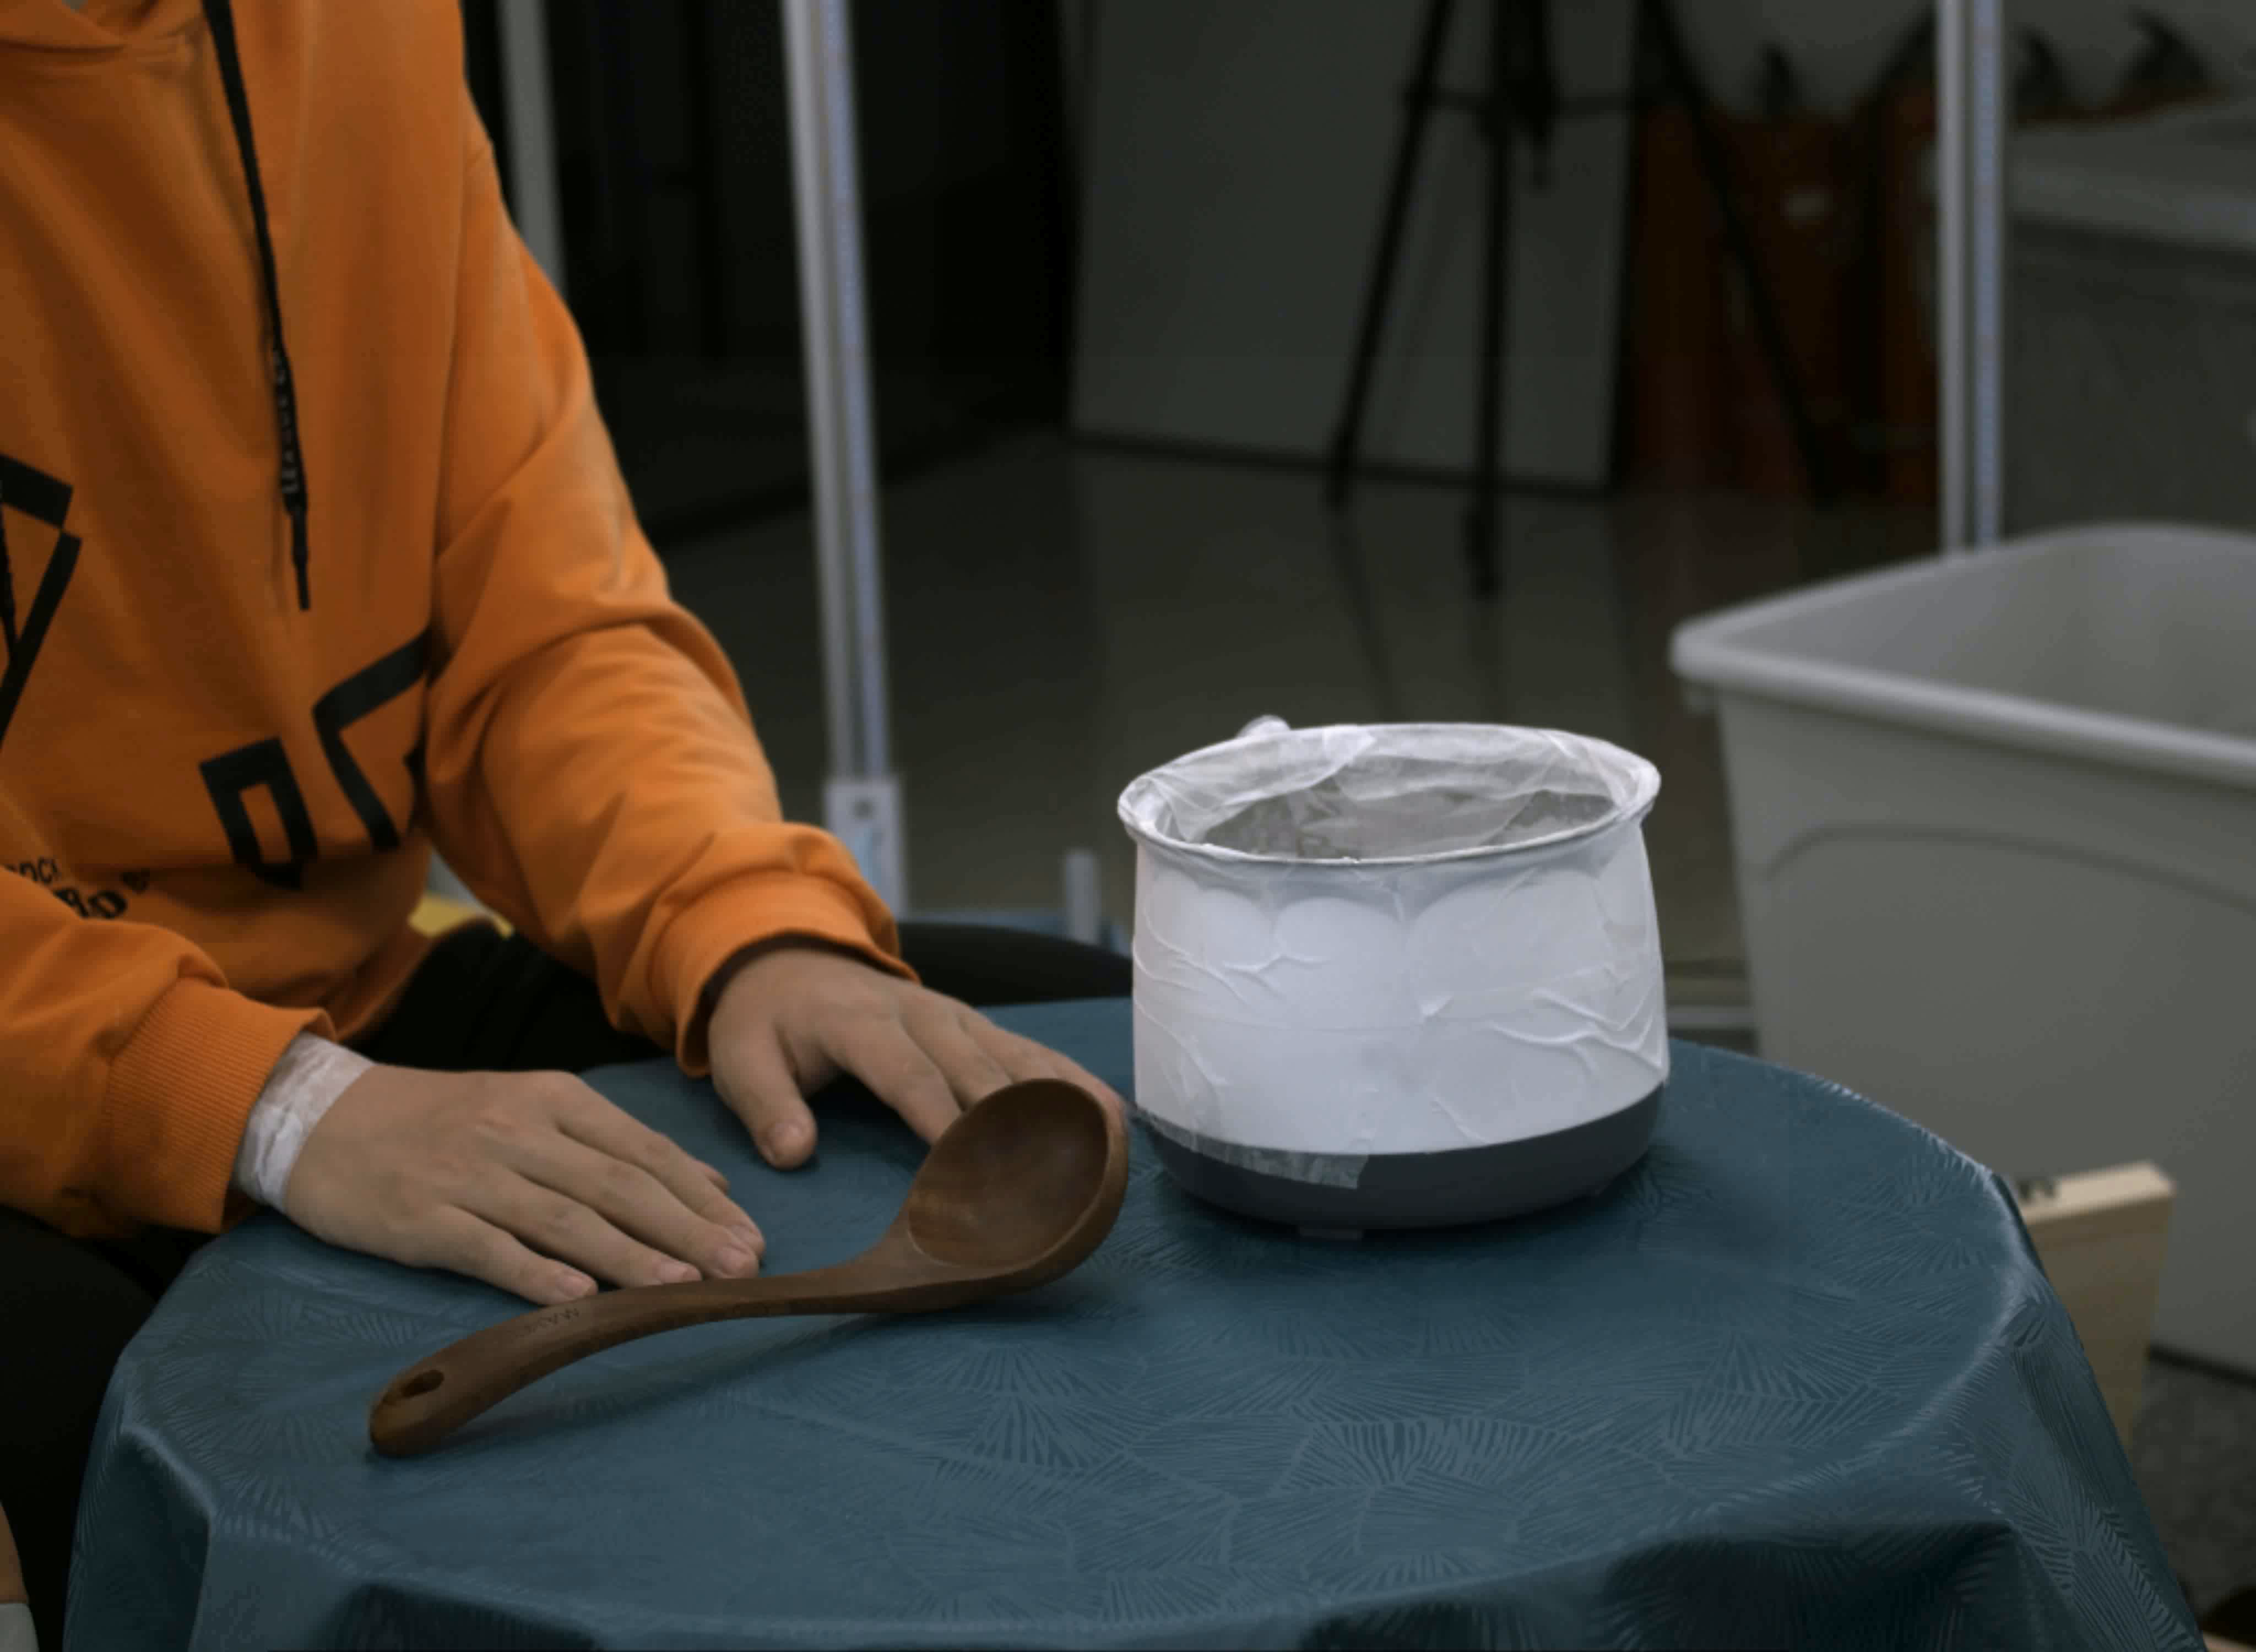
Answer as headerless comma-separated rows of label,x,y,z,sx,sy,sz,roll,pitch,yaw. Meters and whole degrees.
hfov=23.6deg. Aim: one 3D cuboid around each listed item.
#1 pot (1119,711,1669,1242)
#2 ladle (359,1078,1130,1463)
pot,0.077,0.043,1.777,0.175,0.138,0.236,-9,15,-21
ladle,-0.114,0.132,1.628,0.254,0.066,0.077,-12,23,-30
